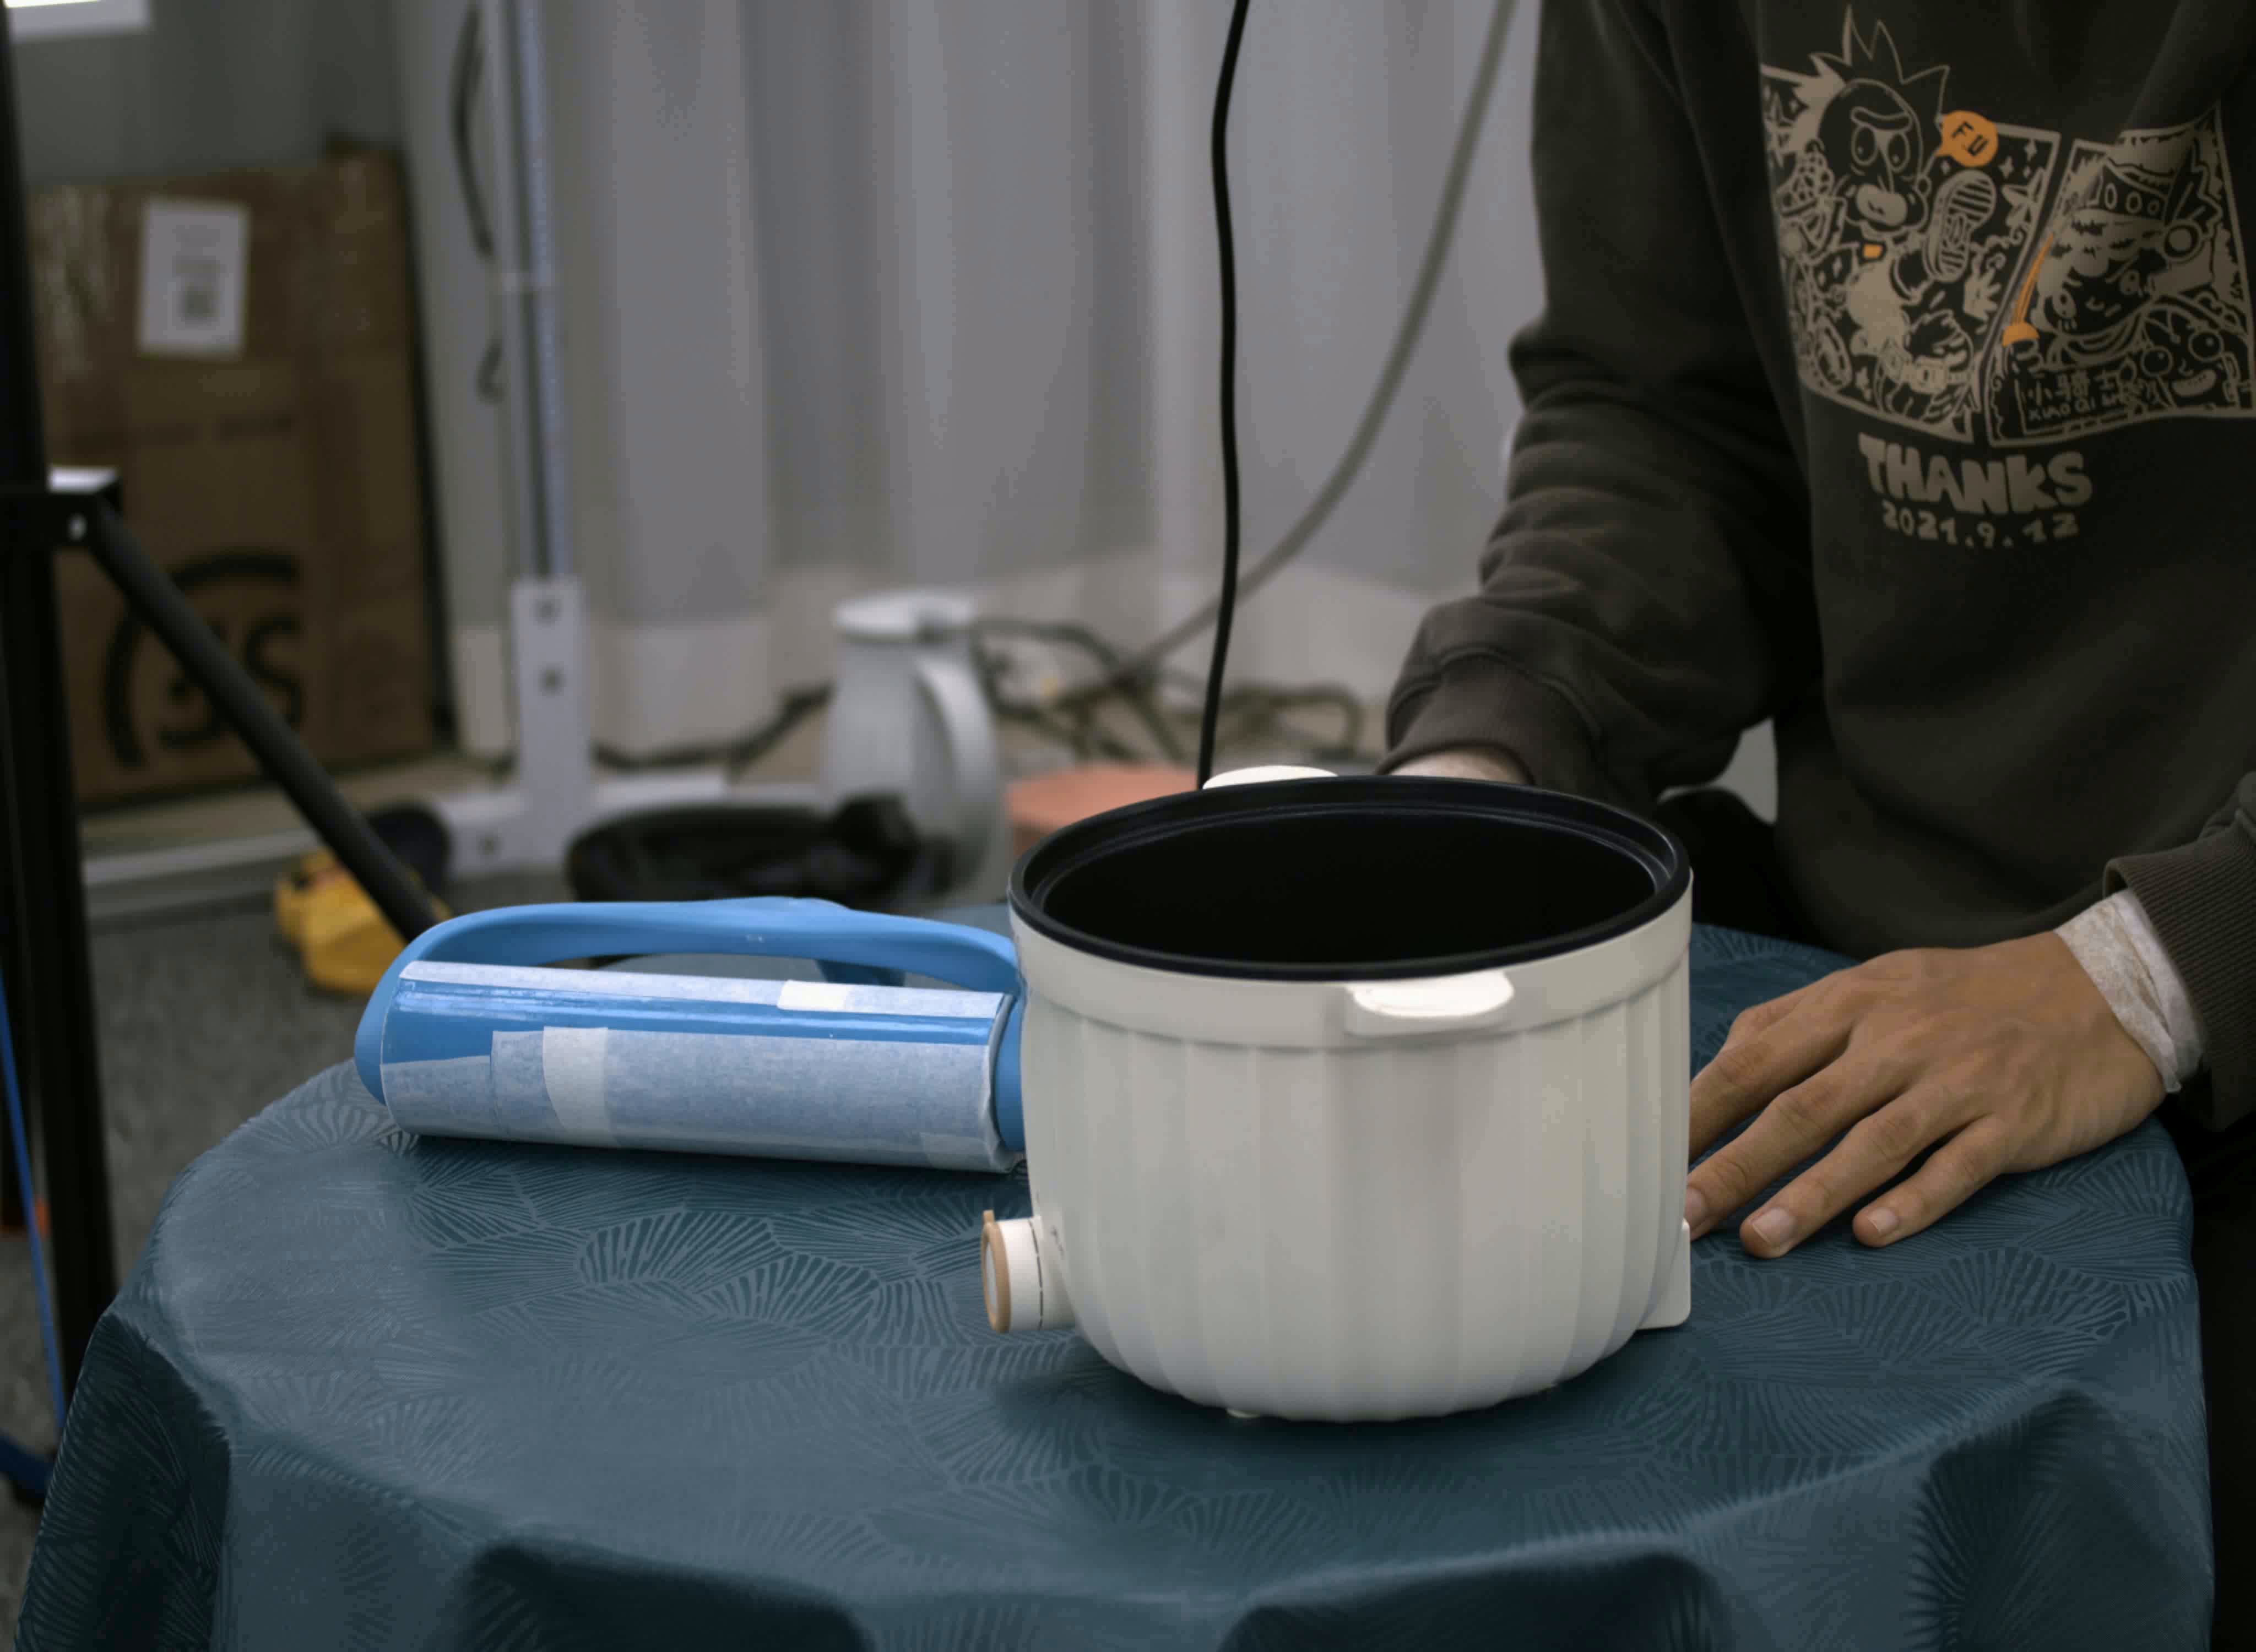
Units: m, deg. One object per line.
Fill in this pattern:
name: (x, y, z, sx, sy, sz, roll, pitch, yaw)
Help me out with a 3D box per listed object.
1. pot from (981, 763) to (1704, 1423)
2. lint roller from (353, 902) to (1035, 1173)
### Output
pot: (0.057, 0.075, 1.415, 0.188, 0.143, 0.243, -2, 14, -10)
lint roller: (-0.113, 0.054, 1.667, 0.231, 0.068, 0.179, 1, 17, 16)
